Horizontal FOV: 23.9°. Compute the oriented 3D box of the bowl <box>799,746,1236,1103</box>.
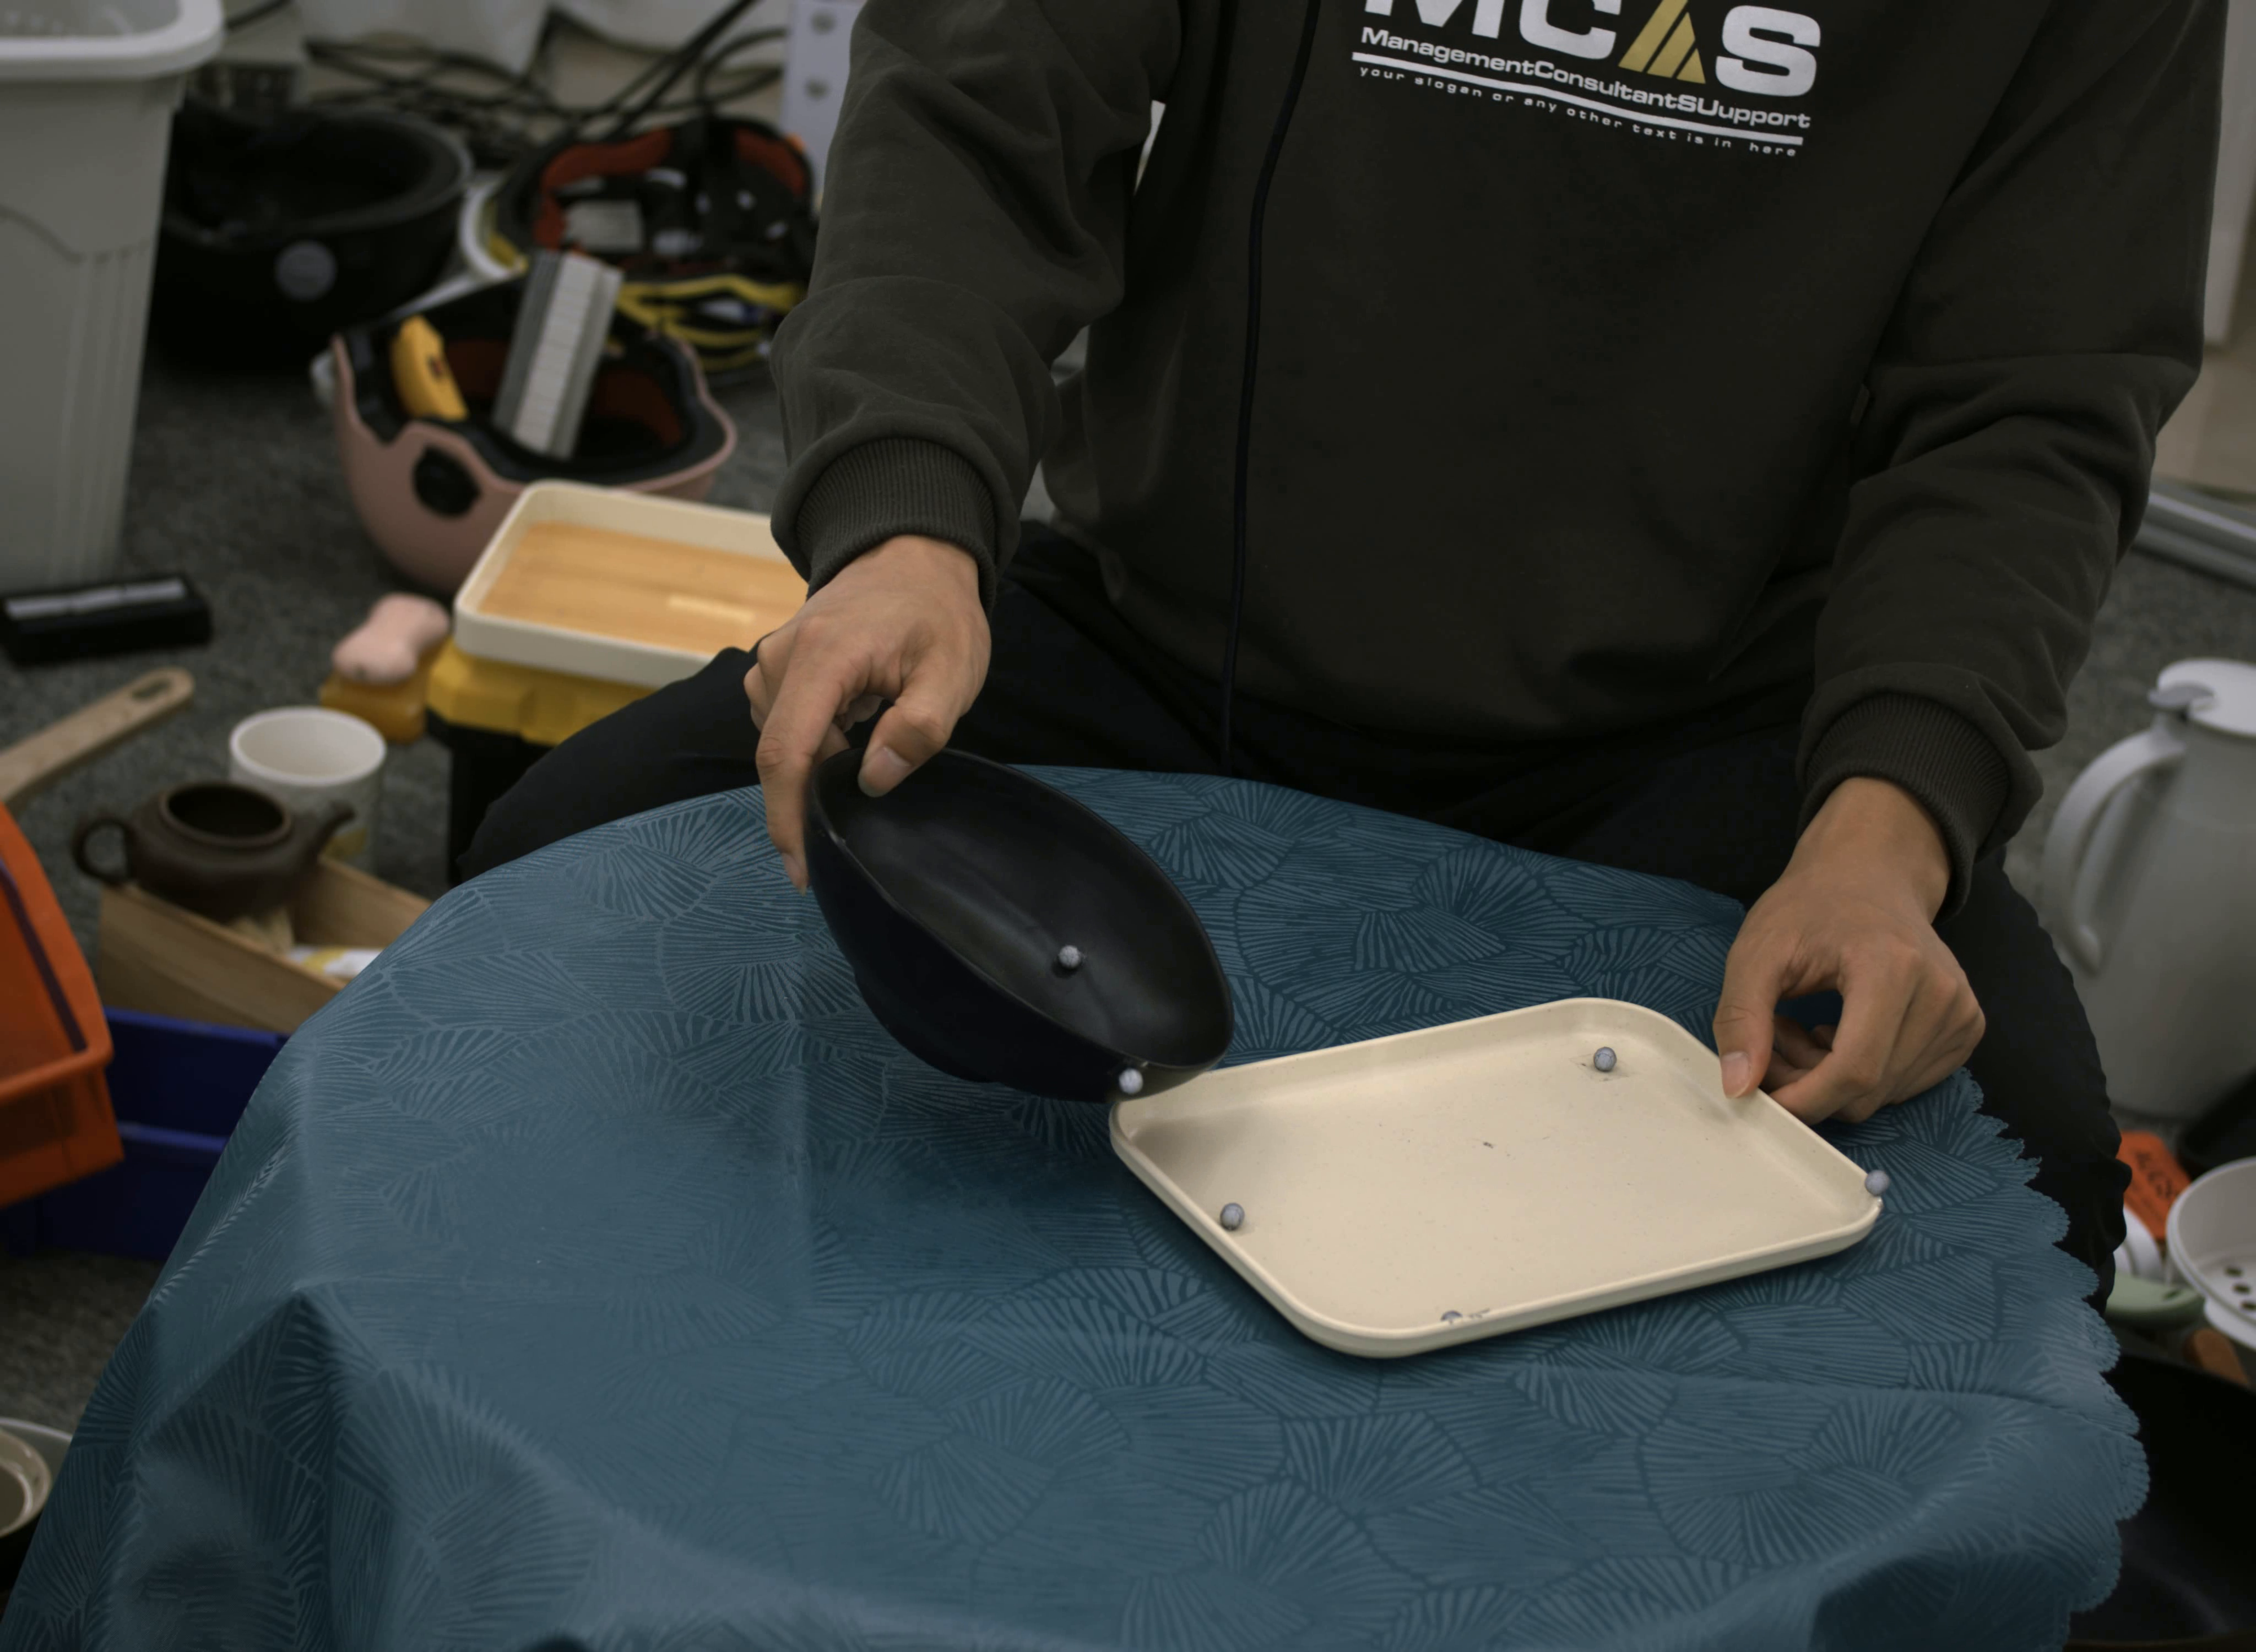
[{"bbox_3d":[-0.048,0.044,1.821,0.170,0.066,0.138,34,27,-4],"label":"bowl"}]

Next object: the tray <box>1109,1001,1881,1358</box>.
[{"bbox_3d":[0.125,0.120,1.824,0.238,0.017,0.173,-10,30,-30],"label":"tray"}]
